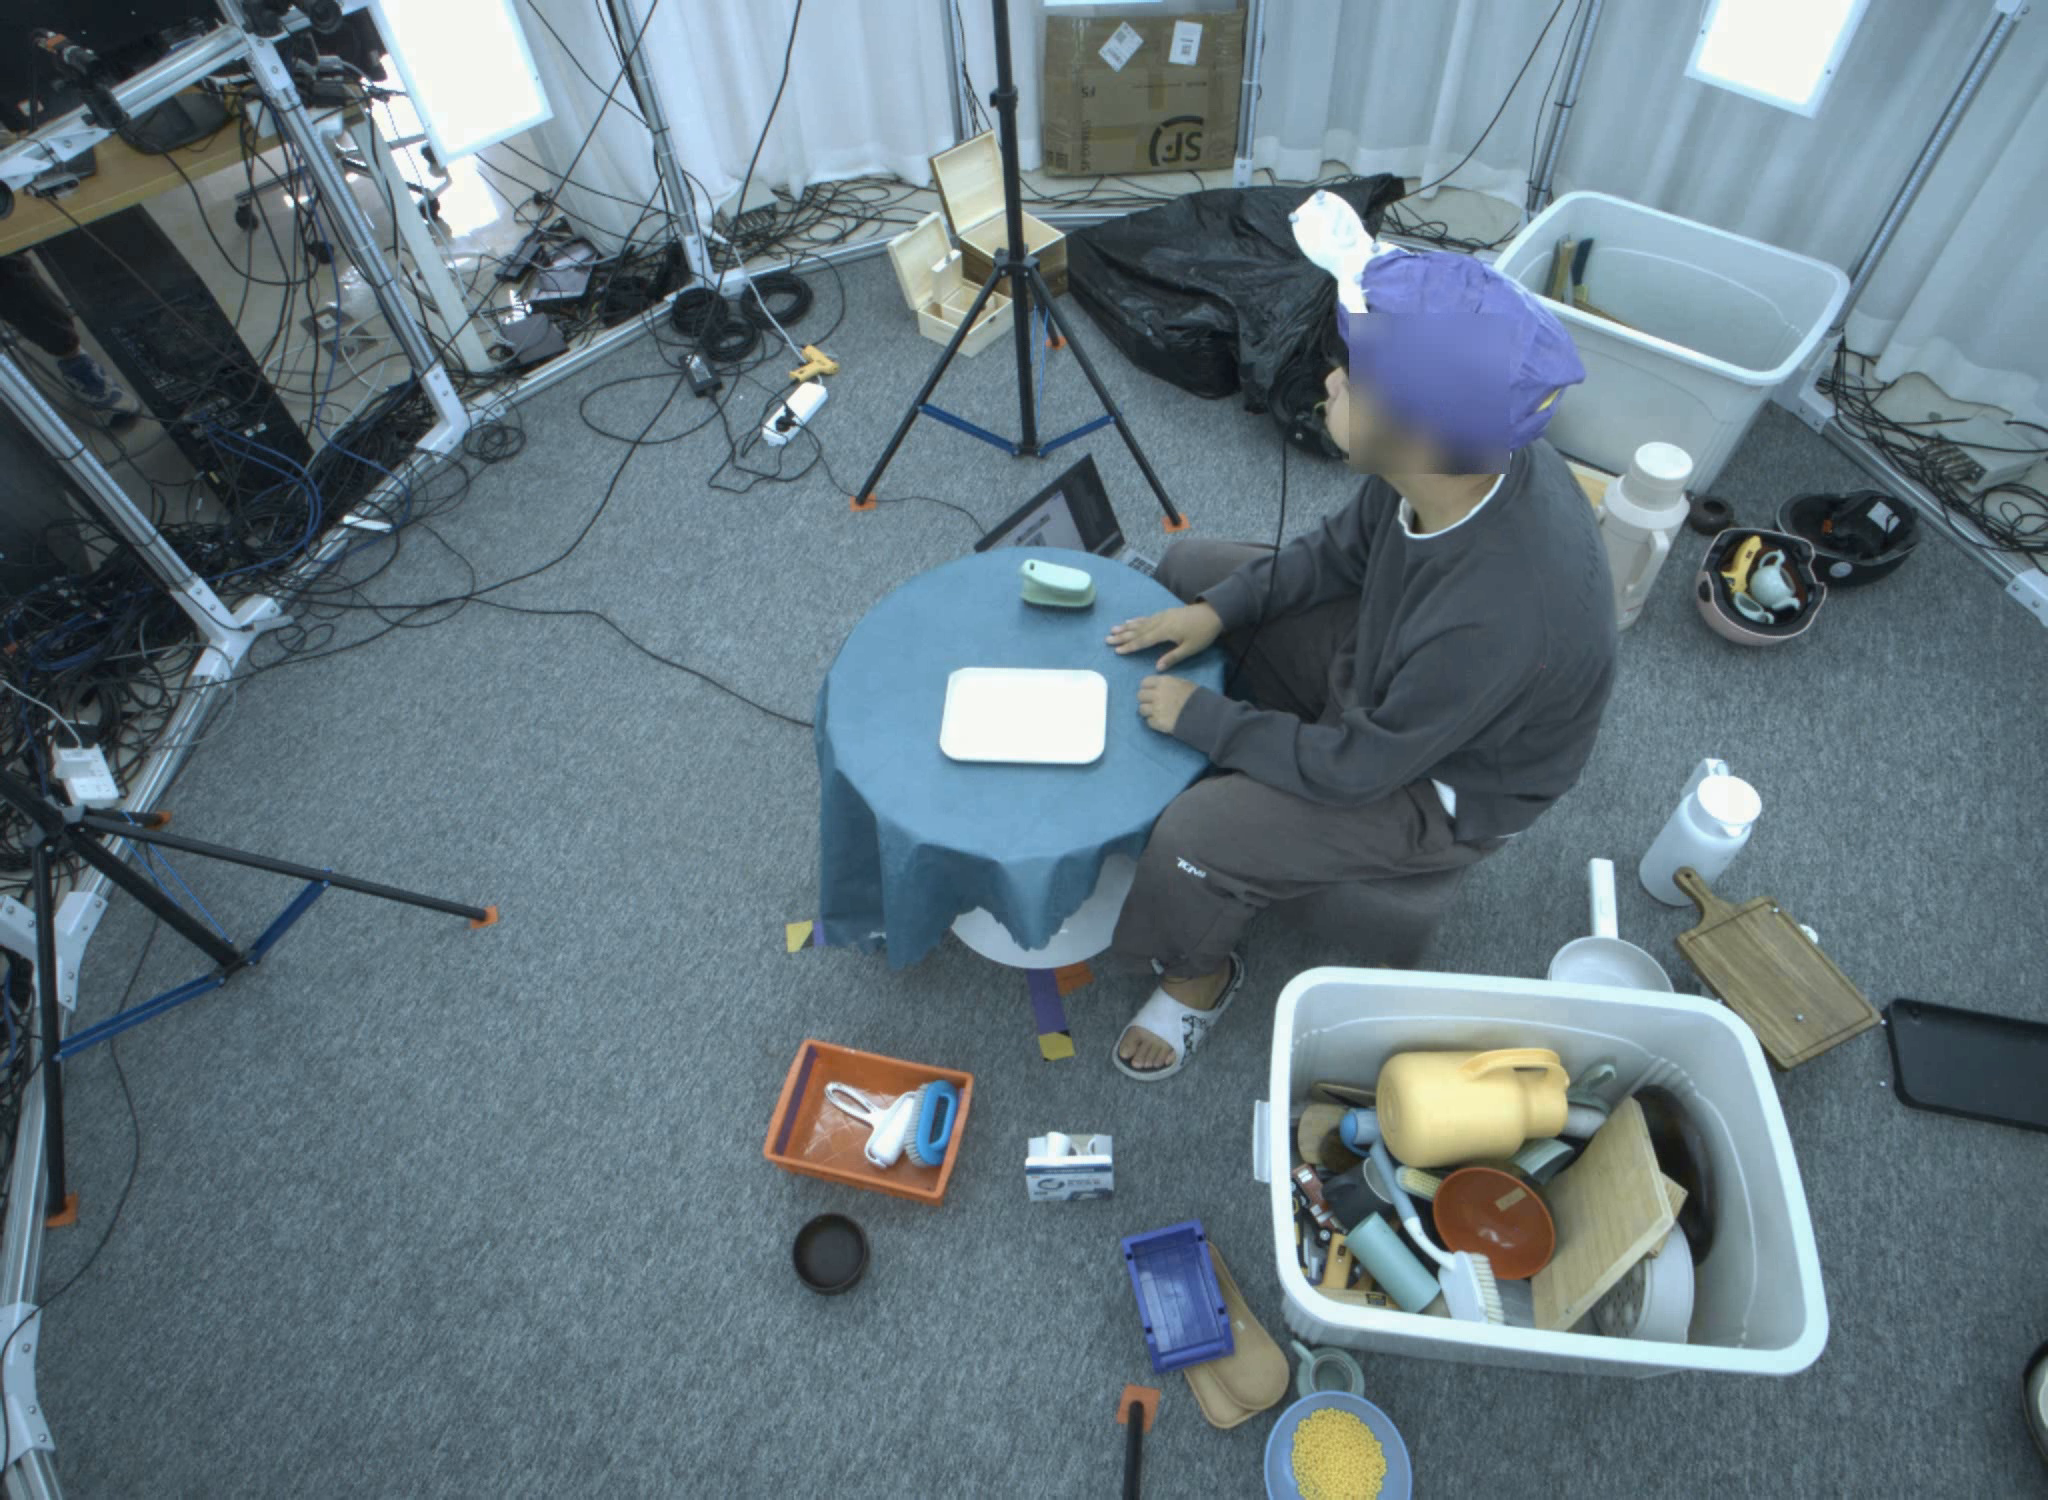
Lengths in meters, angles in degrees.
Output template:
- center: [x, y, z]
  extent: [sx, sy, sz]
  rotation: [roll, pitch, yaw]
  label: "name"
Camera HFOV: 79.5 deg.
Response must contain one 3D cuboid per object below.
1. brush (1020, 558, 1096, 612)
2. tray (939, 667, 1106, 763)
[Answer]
- center: [0.051, -0.256, 1.934]
  extent: [0.123, 0.076, 0.059]
  rotation: [13, 56, -6]
  label: "brush"
- center: [0.000, -0.051, 1.813]
  extent: [0.239, 0.017, 0.170]
  rotation: [2, 55, 3]
  label: "tray"
